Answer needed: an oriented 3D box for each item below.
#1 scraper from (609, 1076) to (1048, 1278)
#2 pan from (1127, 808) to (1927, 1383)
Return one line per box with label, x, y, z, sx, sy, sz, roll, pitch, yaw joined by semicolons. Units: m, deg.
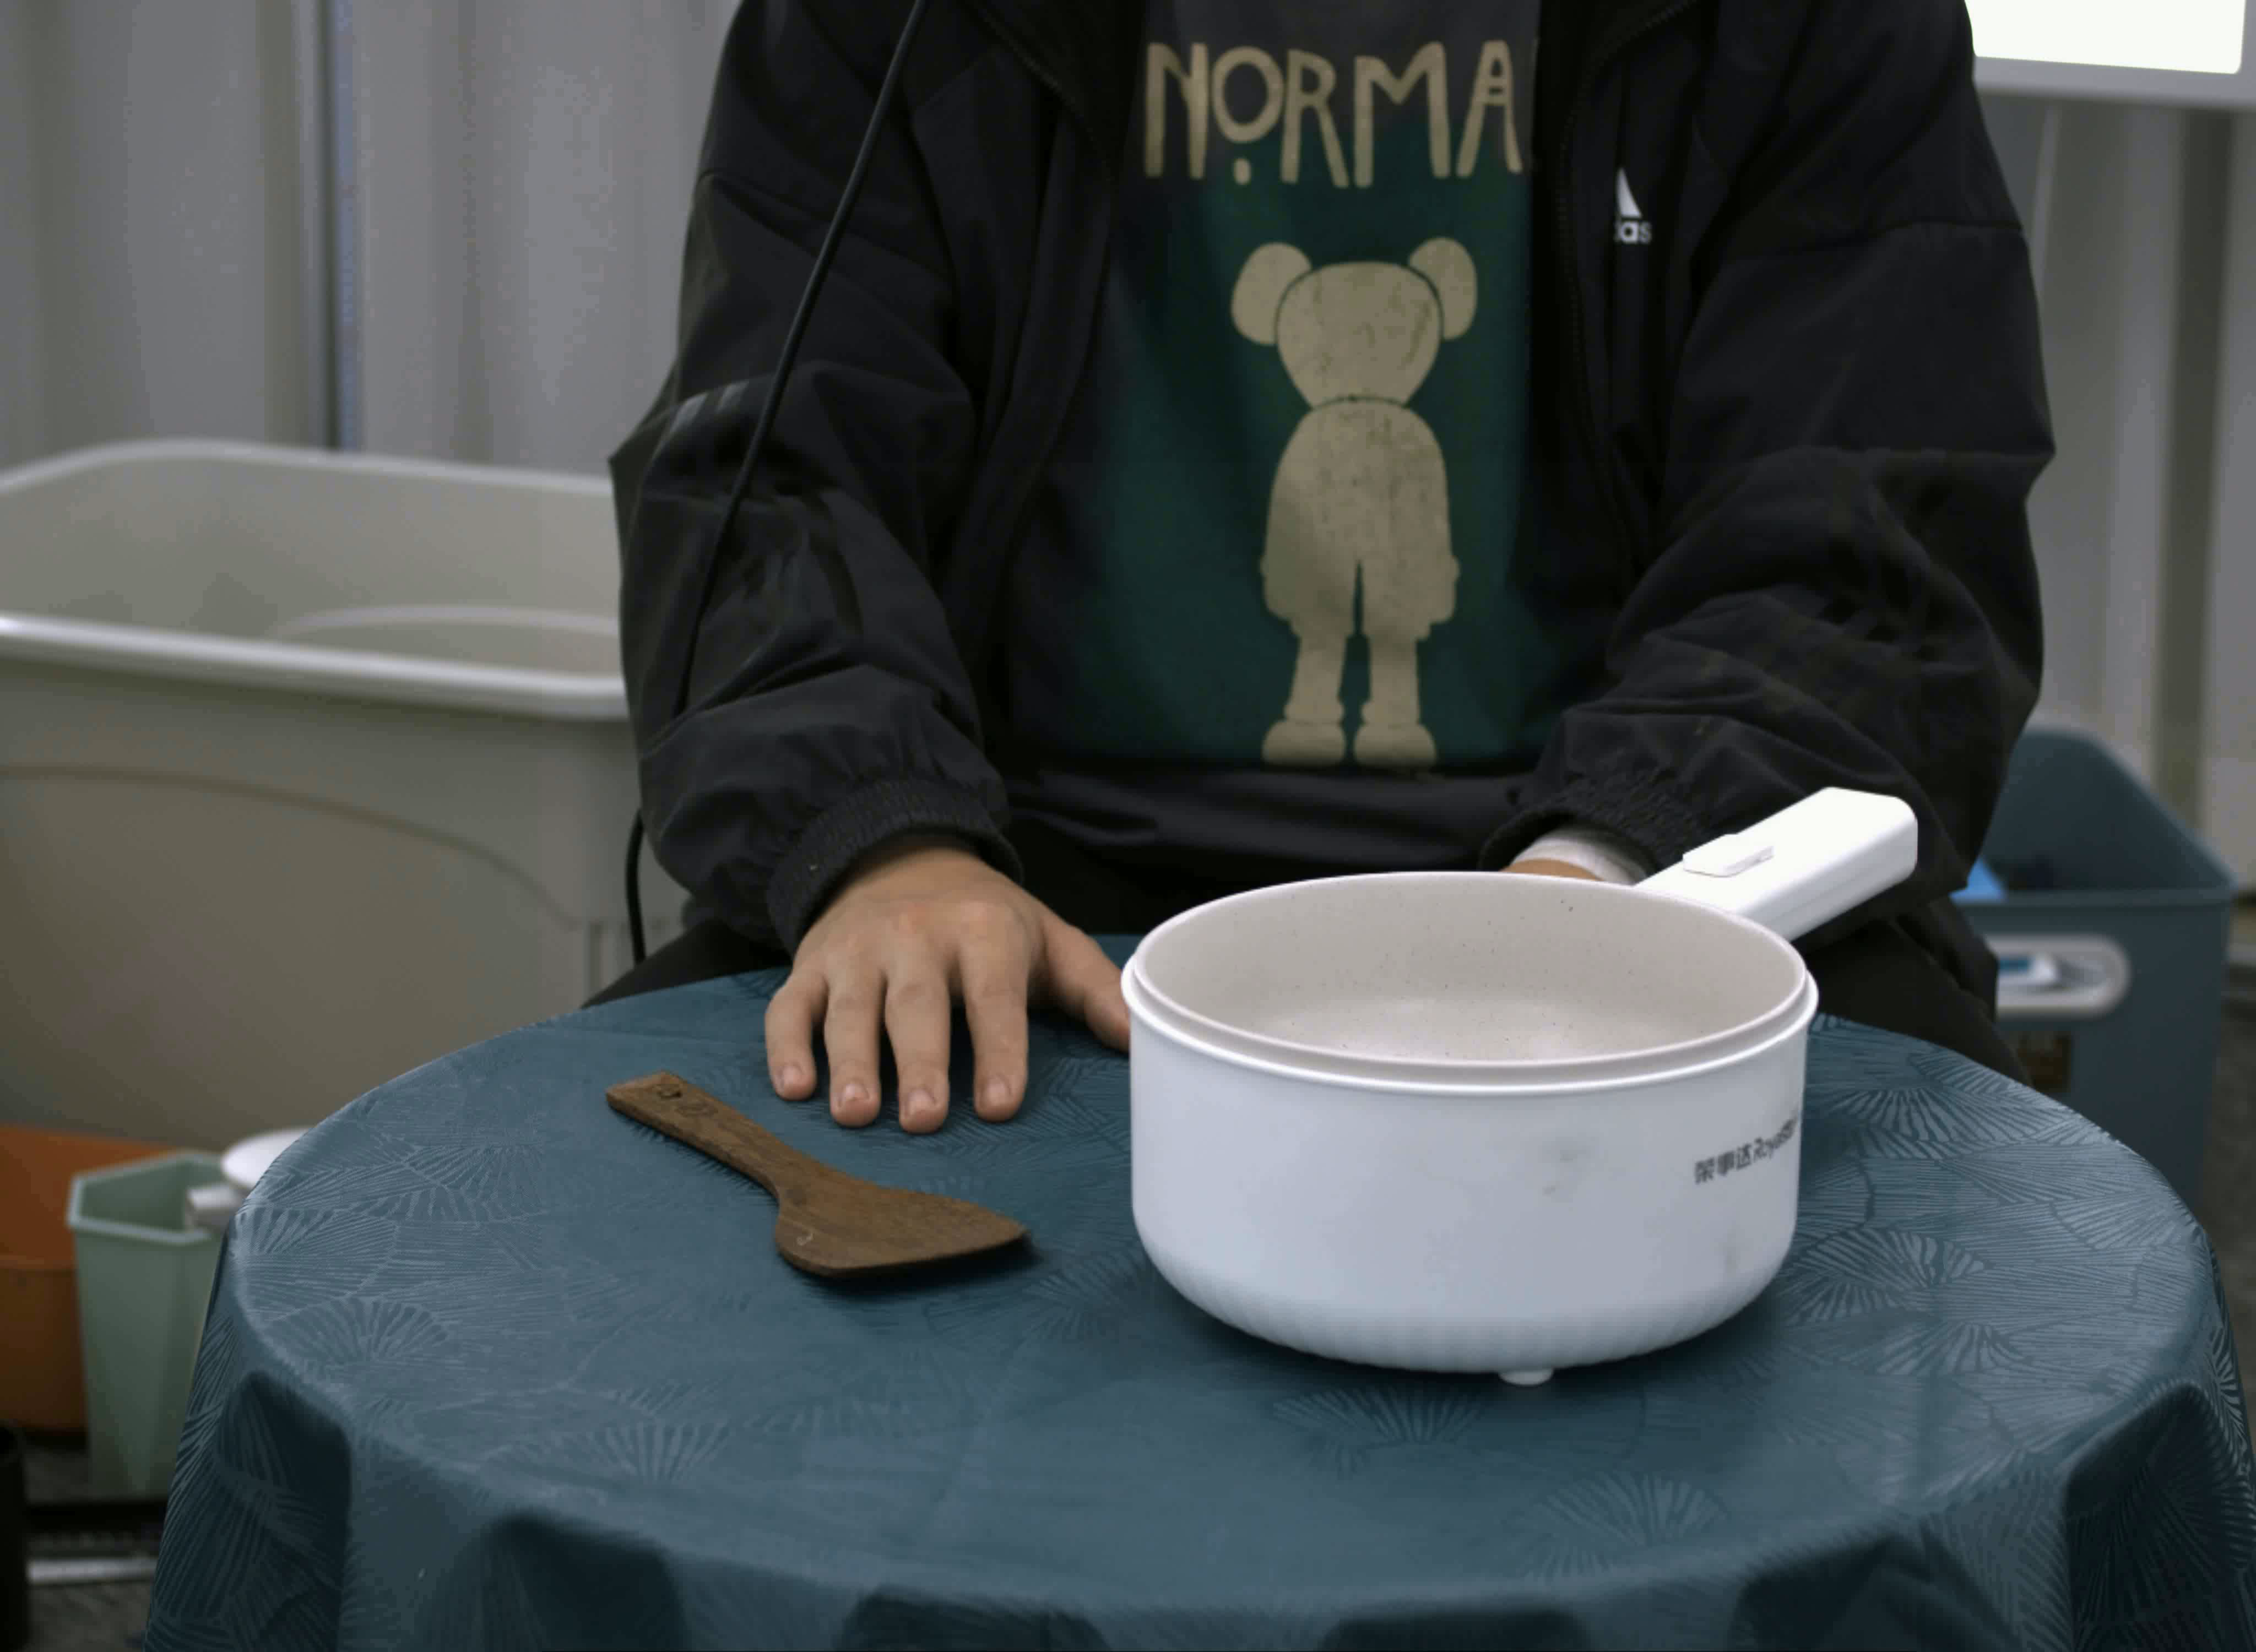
scraper;-0.105;0.107;1.626;0.076;0.011;0.208;-8;17;-31
pan;0.142;0.074;1.591;0.199;0.103;0.356;10;16;33
